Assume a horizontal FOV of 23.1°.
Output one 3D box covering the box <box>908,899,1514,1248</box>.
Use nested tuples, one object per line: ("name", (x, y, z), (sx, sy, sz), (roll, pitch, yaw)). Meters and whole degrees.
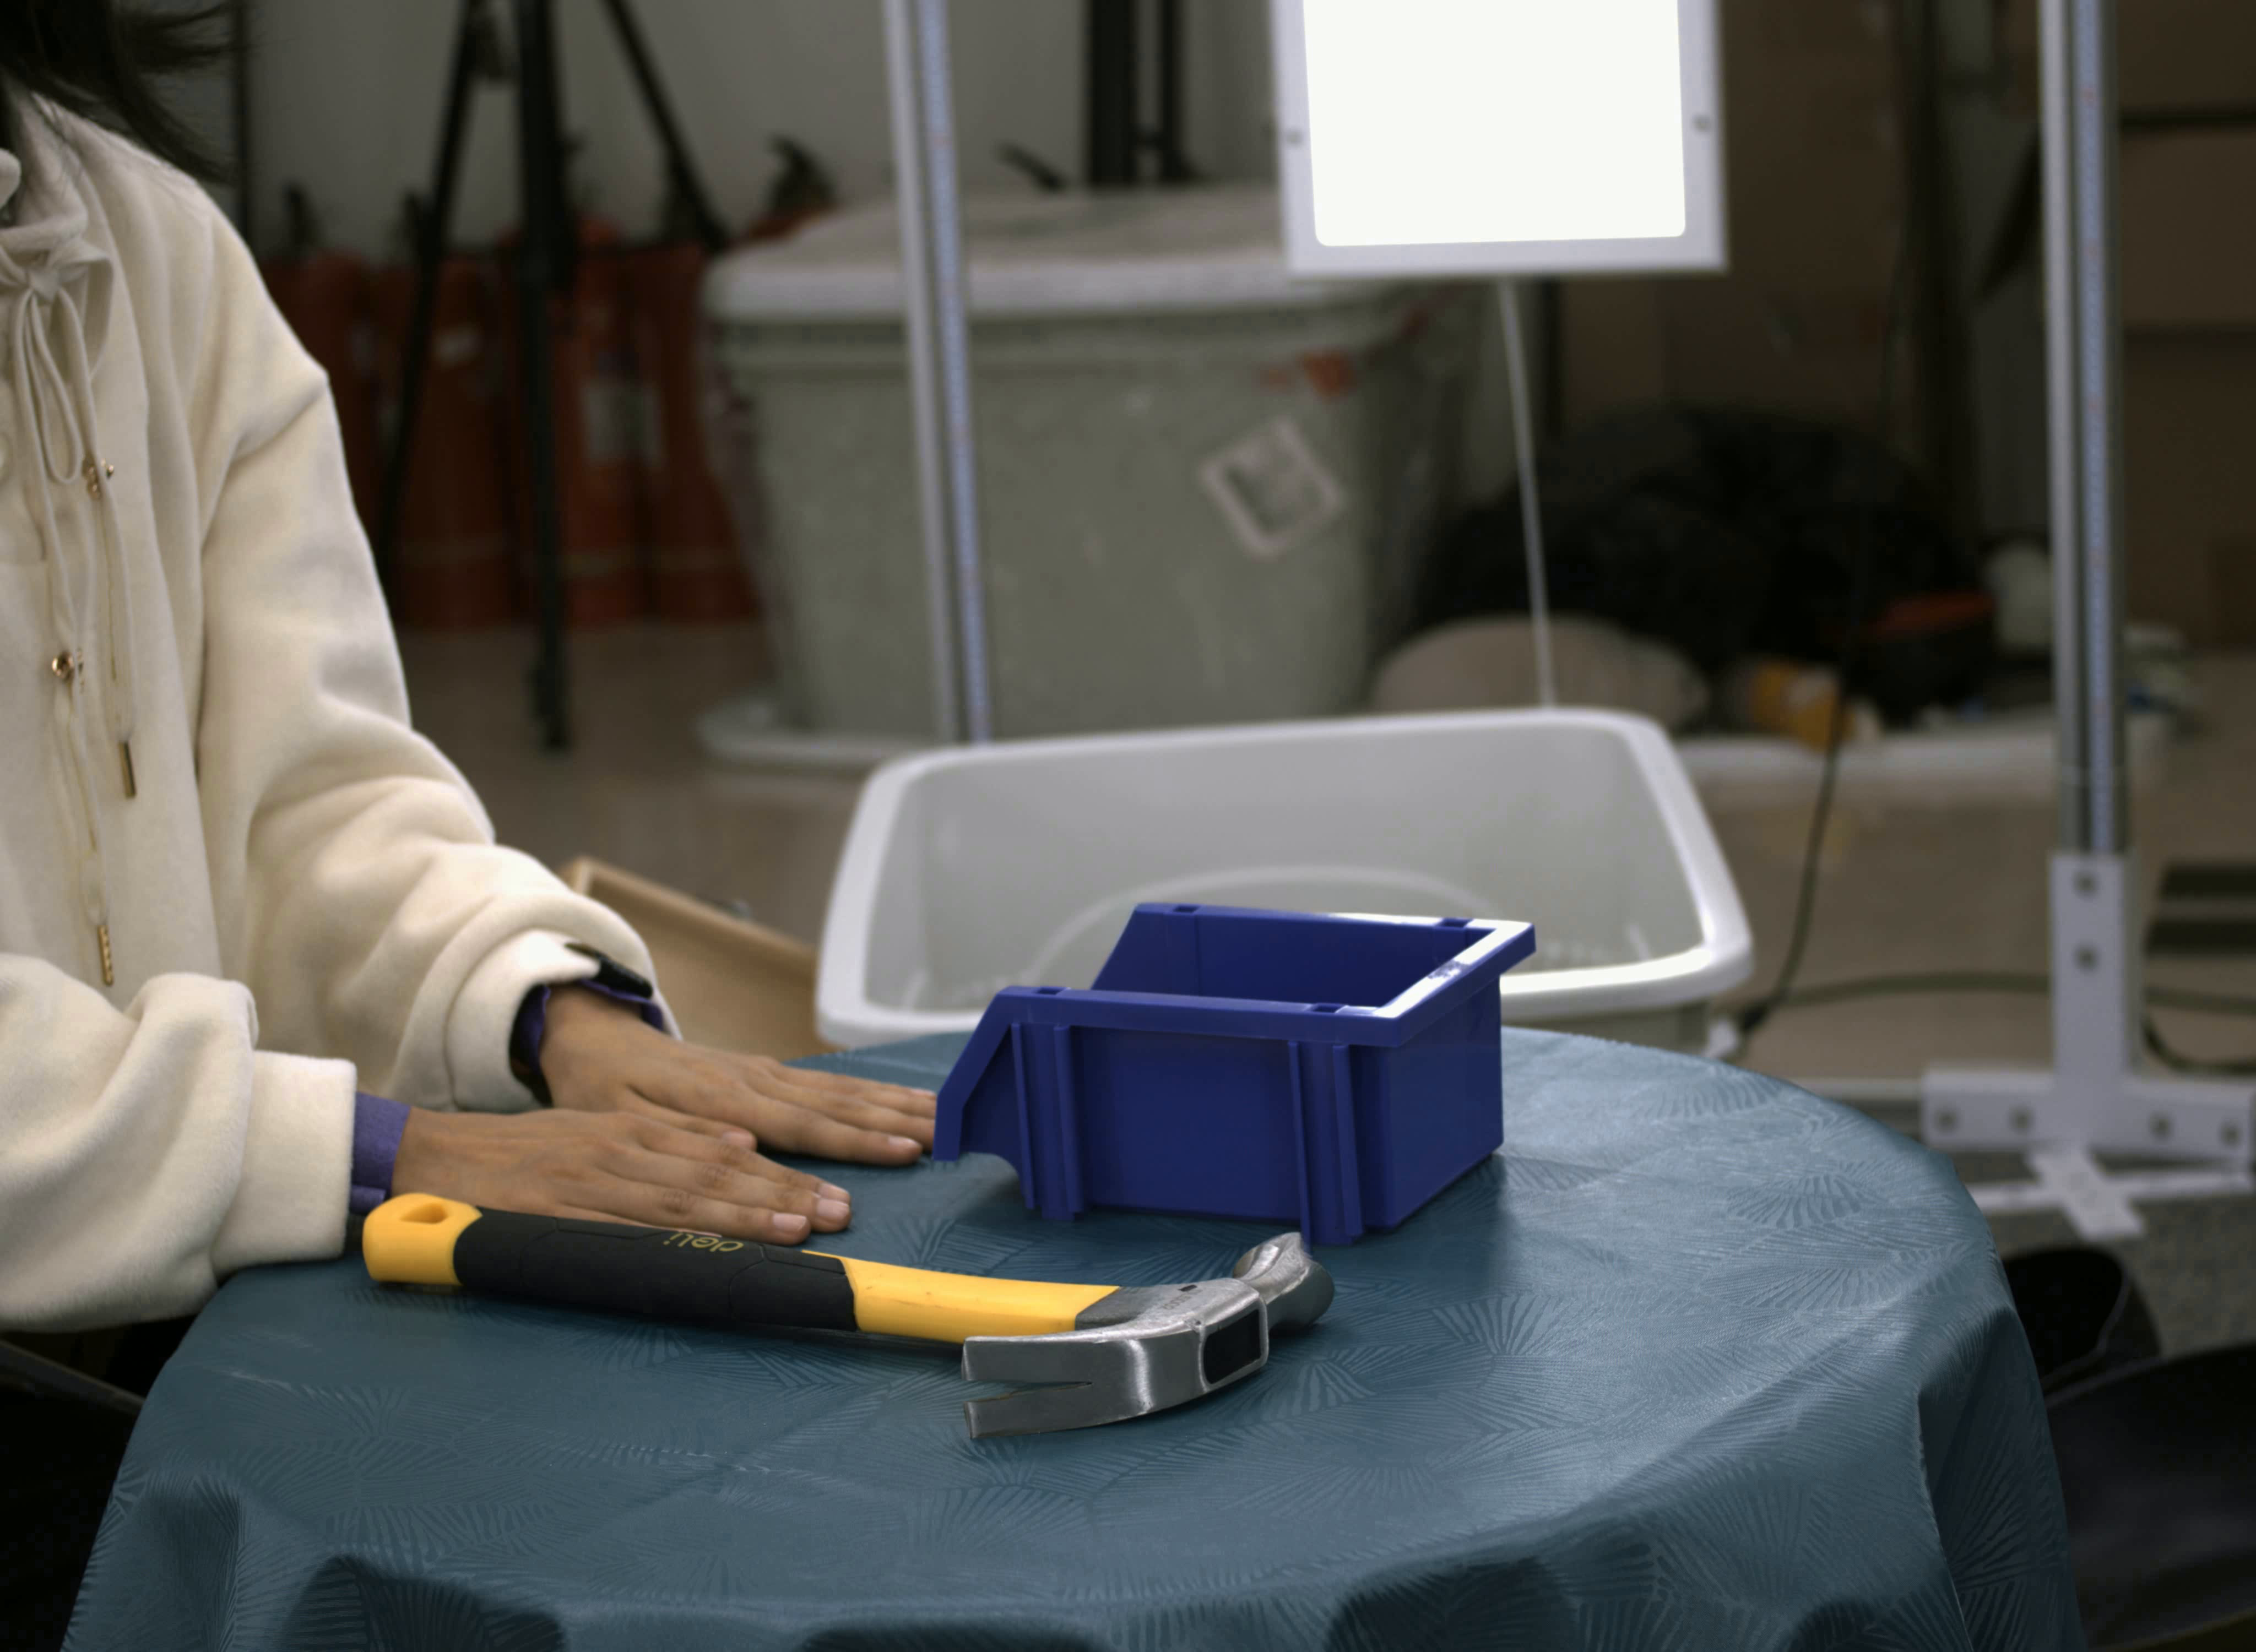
("box", (0.028, 0.083, 1.897), (0.182, 0.082, 0.122), (5, 17, 29))

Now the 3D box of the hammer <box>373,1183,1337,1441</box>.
("hammer", (-0.108, 0.147, 1.785), (0.345, 0.032, 0.128), (5, 18, 35))
